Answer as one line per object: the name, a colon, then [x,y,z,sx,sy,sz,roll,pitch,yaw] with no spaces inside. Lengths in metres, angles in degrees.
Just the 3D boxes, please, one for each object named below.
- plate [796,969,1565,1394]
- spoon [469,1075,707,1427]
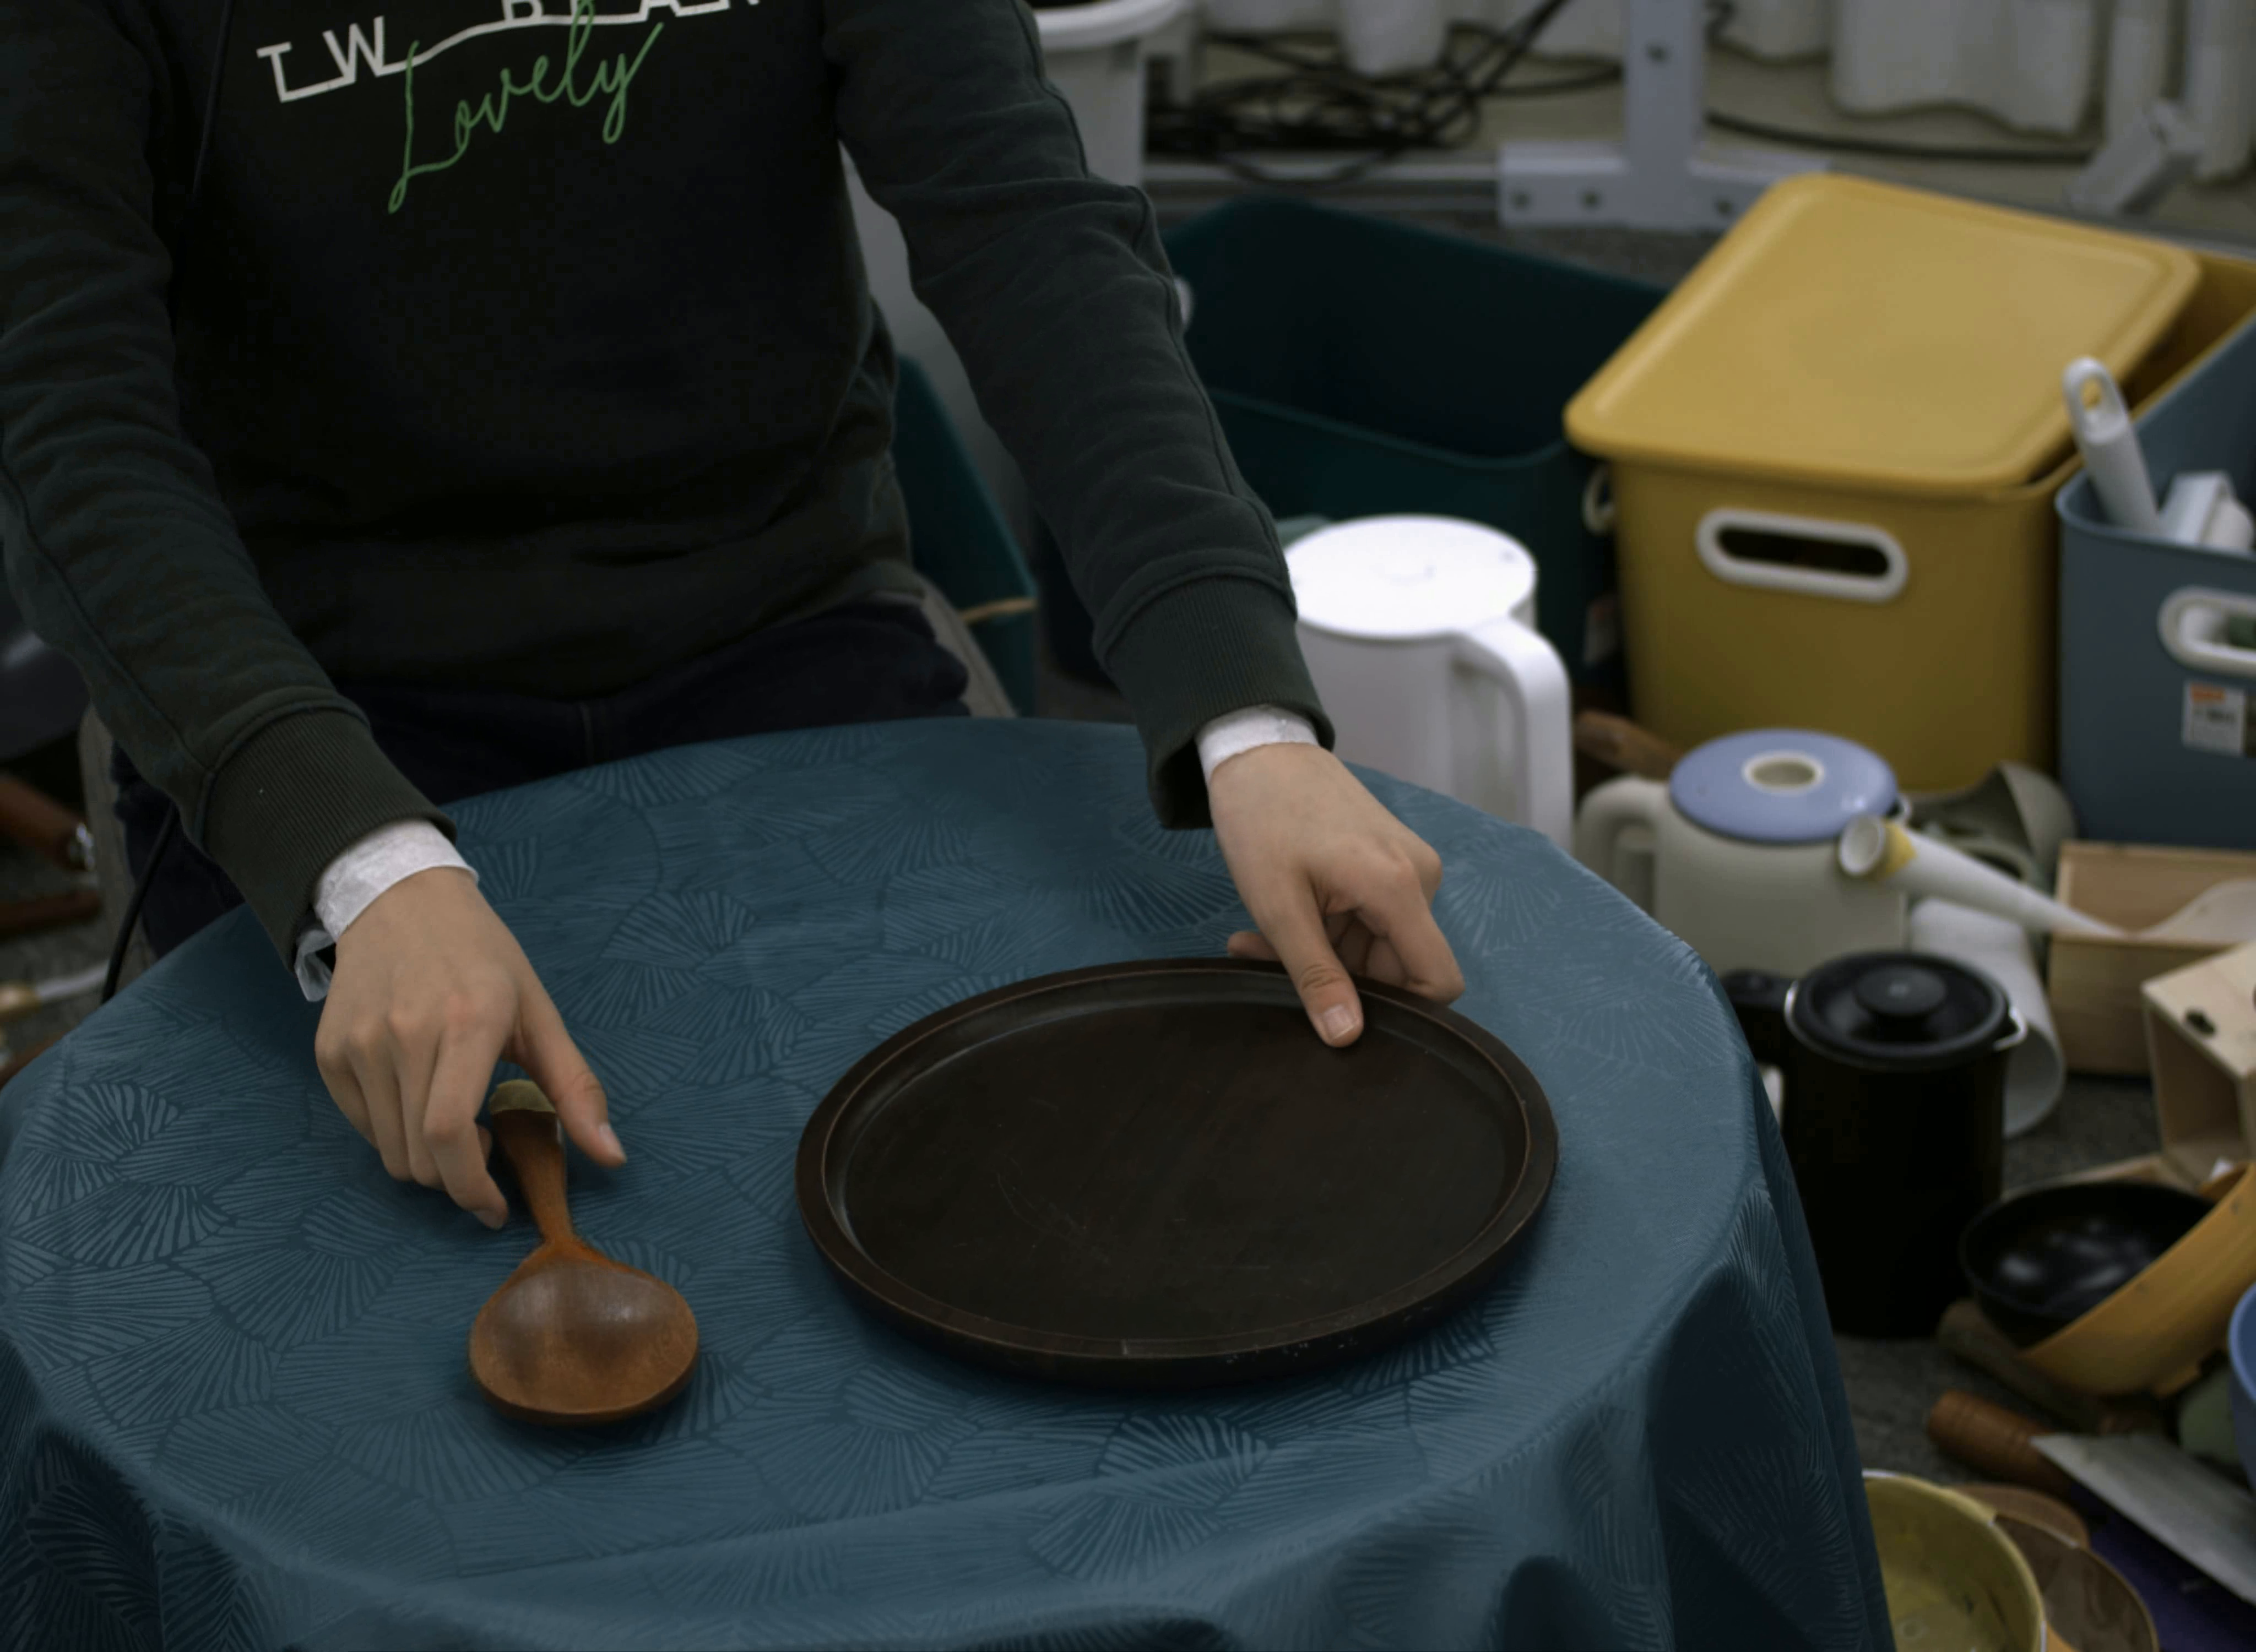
plate: [0.017,0.114,1.849,0.253,0.029,0.259,-1,28,1]
spoon: [-0.185,0.139,1.827,0.075,0.017,0.218,-8,28,-10]
